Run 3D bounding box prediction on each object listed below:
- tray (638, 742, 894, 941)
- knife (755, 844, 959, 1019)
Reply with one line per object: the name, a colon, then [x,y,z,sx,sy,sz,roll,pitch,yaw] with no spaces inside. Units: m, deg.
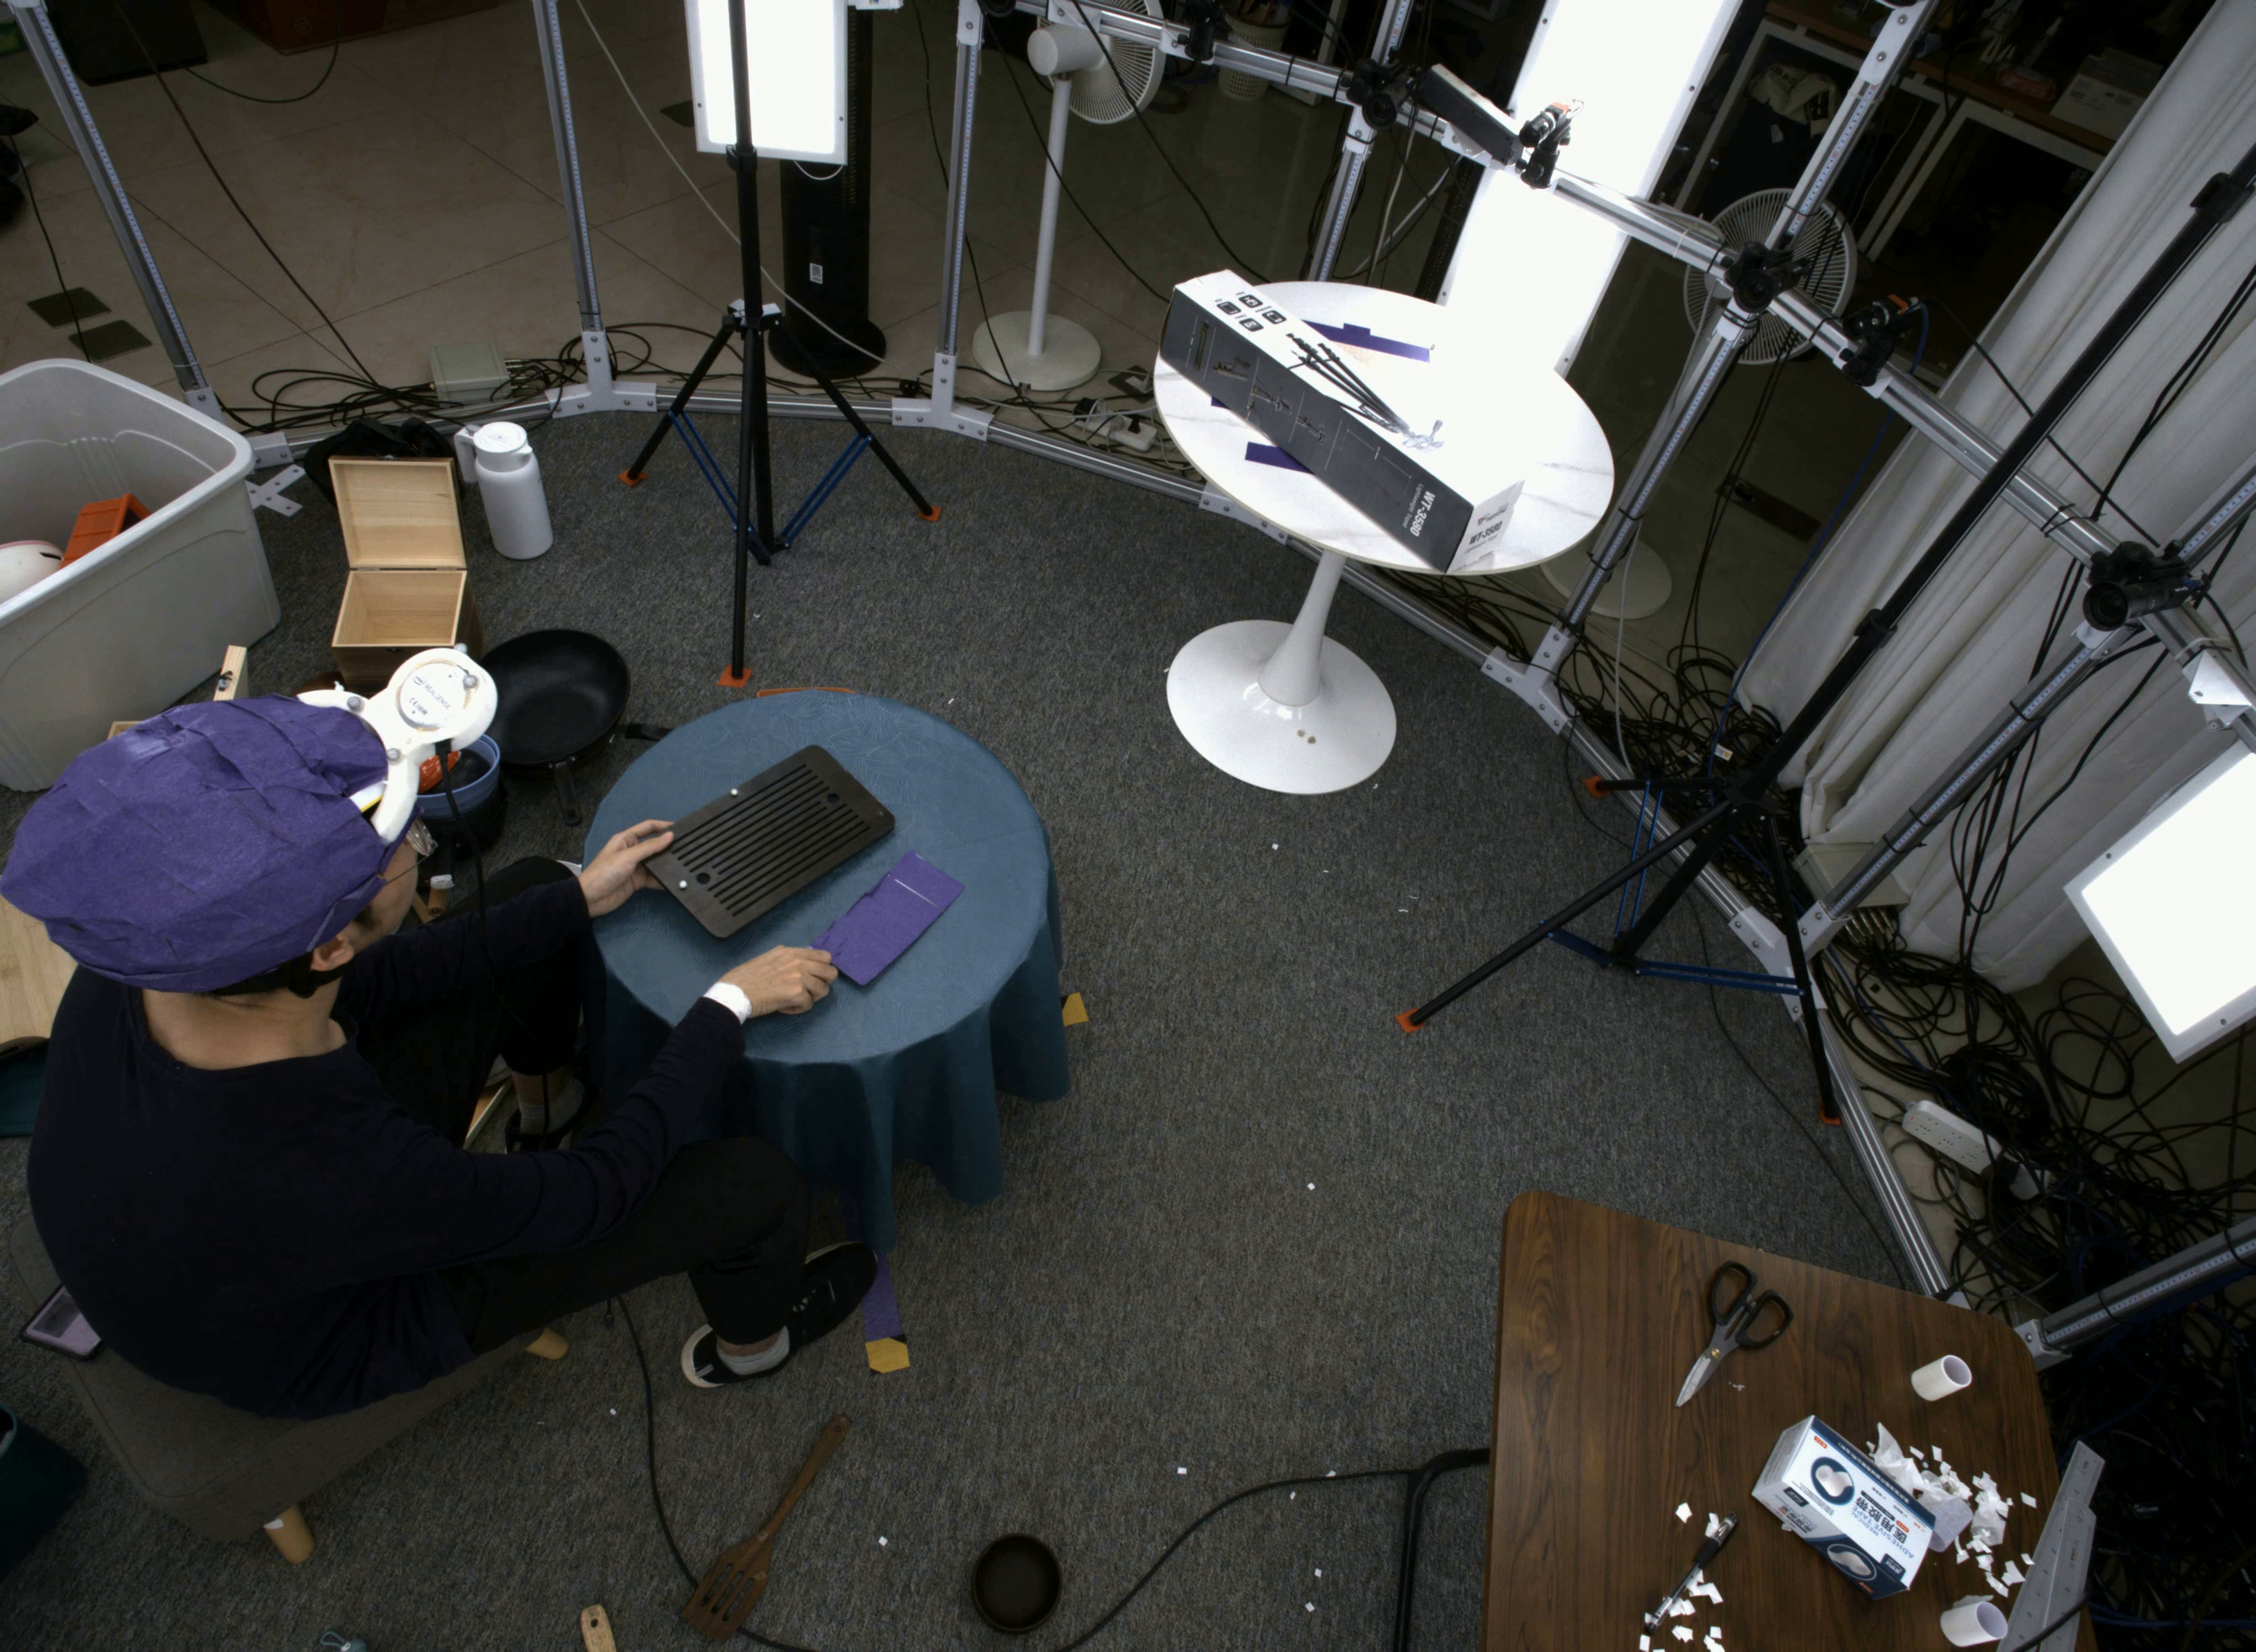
tray: [-0.464,0.014,1.675,0.168,0.019,0.306,43,50,9]
knife: [-0.332,0.139,1.636,0.102,0.033,0.314,32,52,10]
